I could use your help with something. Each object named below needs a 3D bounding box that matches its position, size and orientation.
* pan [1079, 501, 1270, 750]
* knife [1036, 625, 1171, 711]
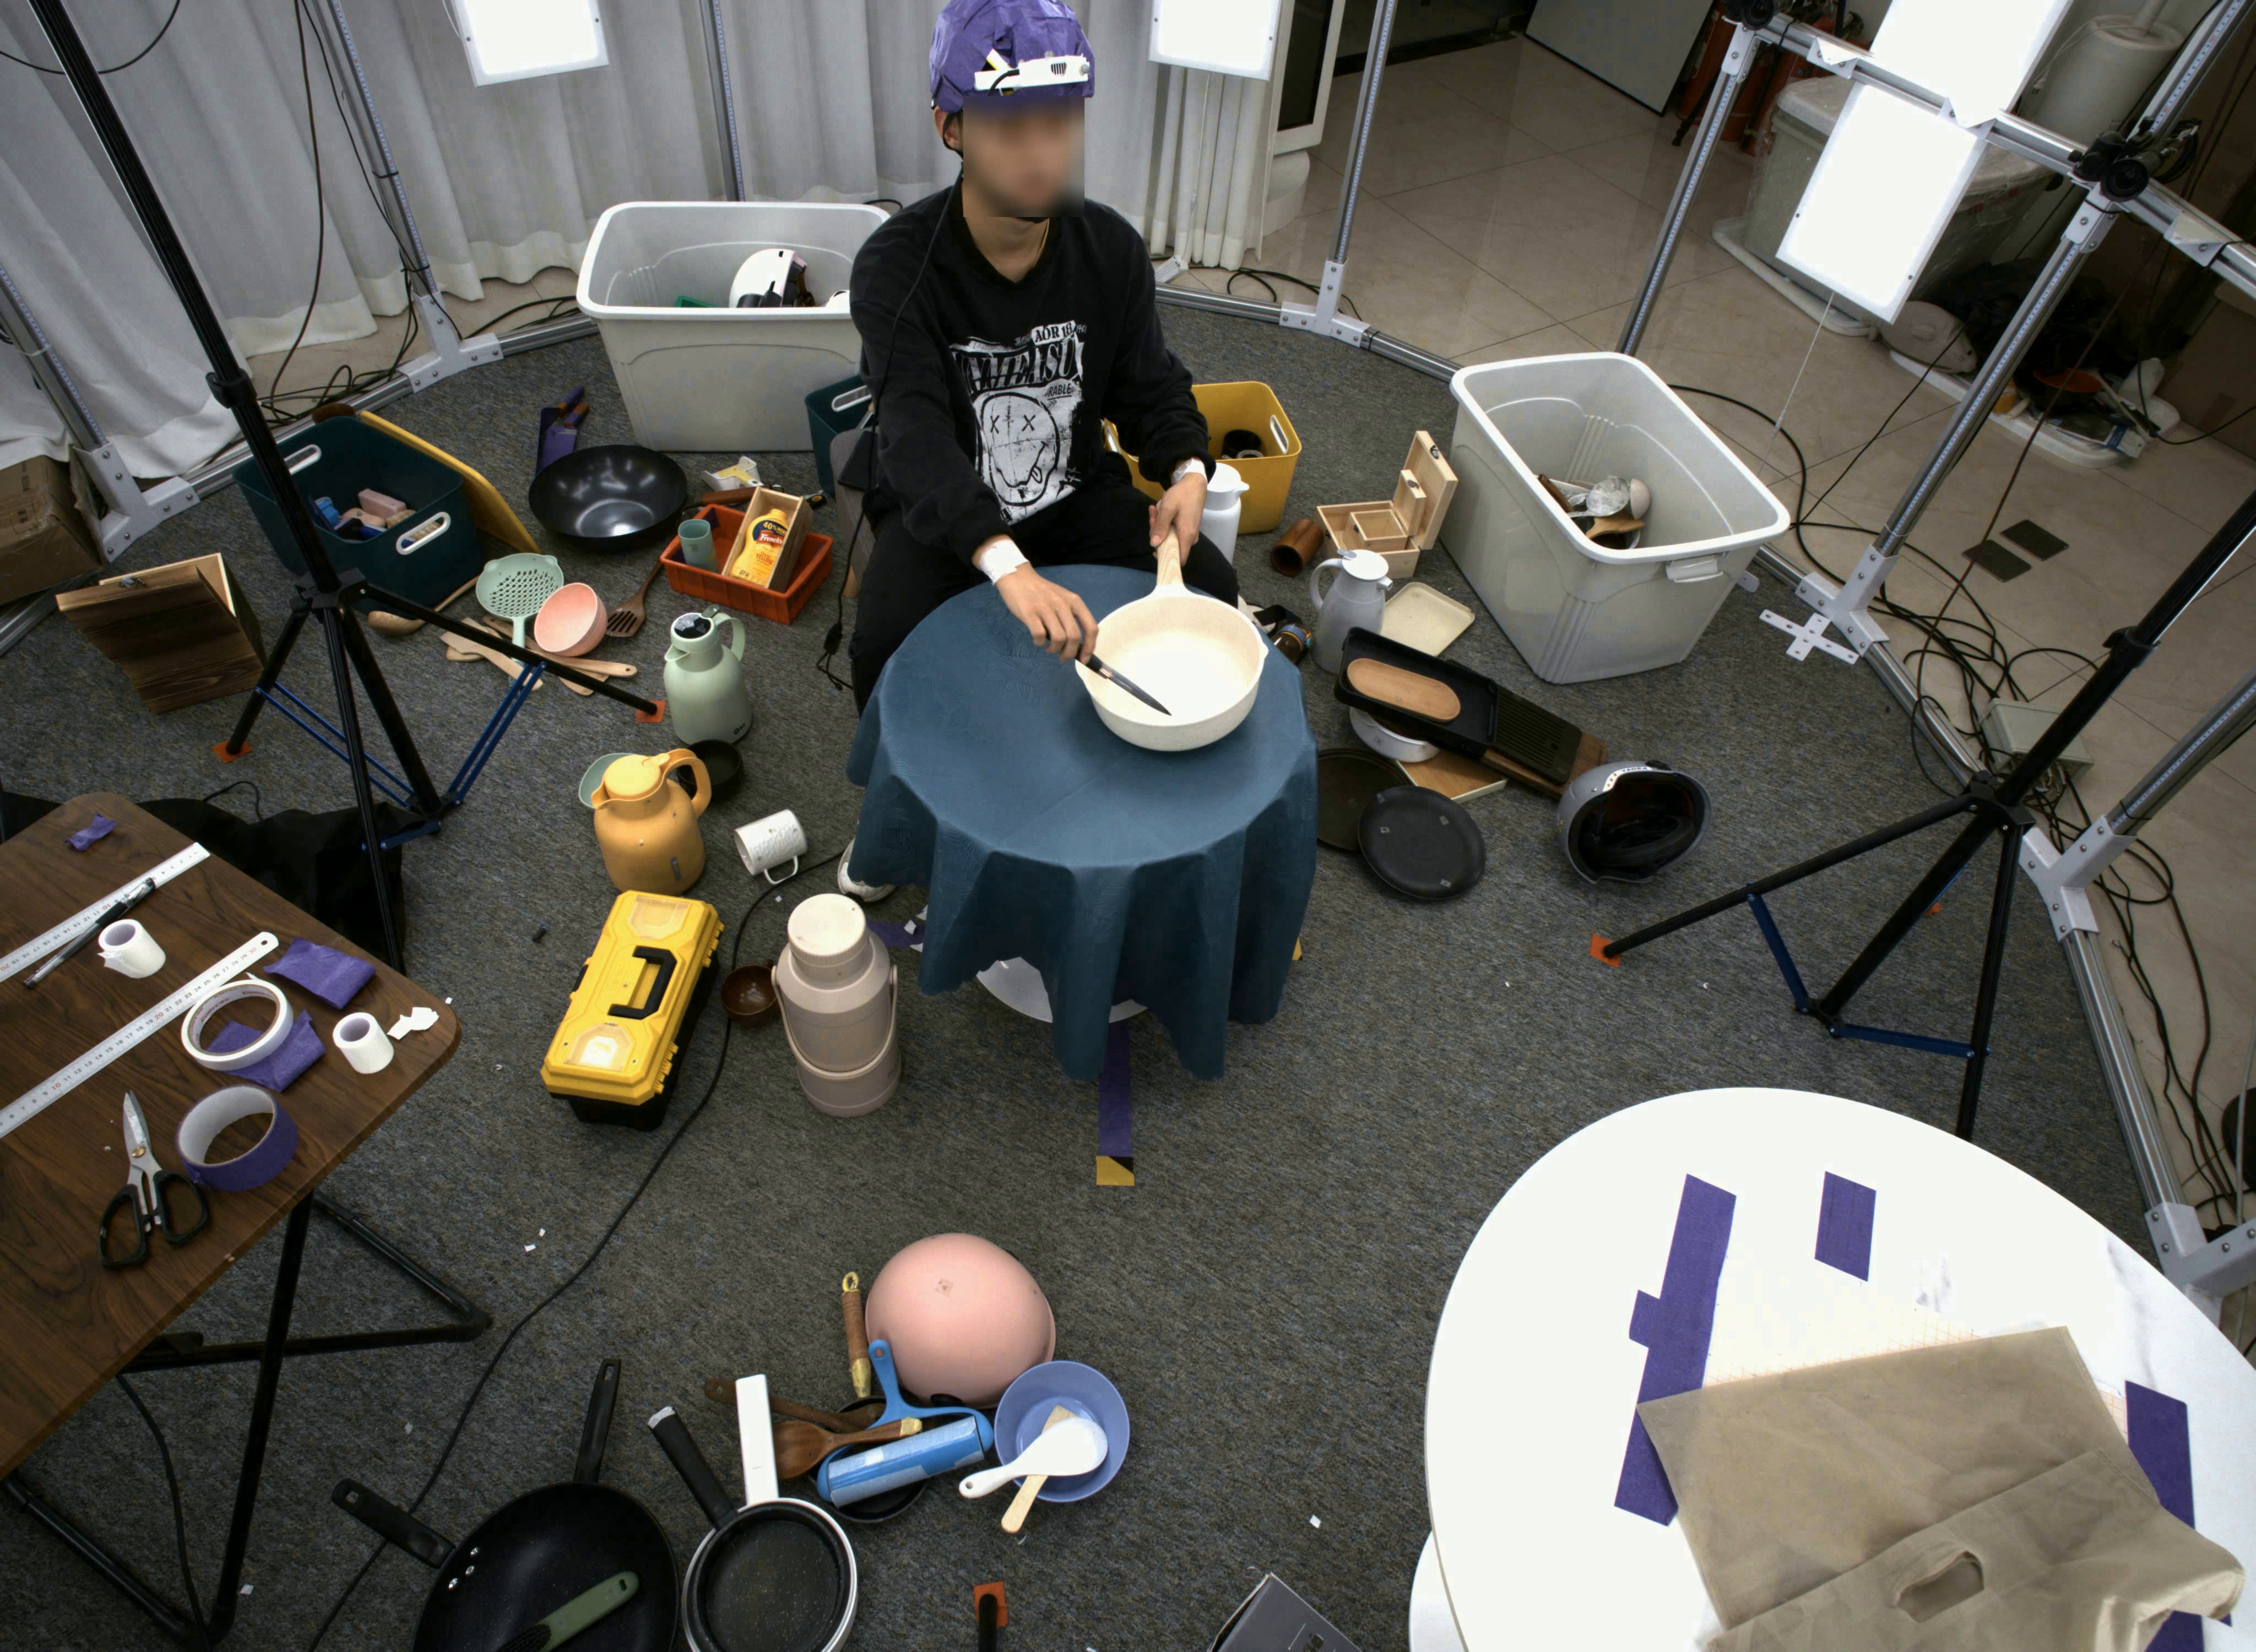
[{"bbox_3d":[0.066,-0.287,1.836,0.263,0.099,0.446,-5,51,5],"label":"pan"},{"bbox_3d":[-0.028,-0.201,1.674,0.222,0.017,0.027,30,34,-26],"label":"knife"}]
